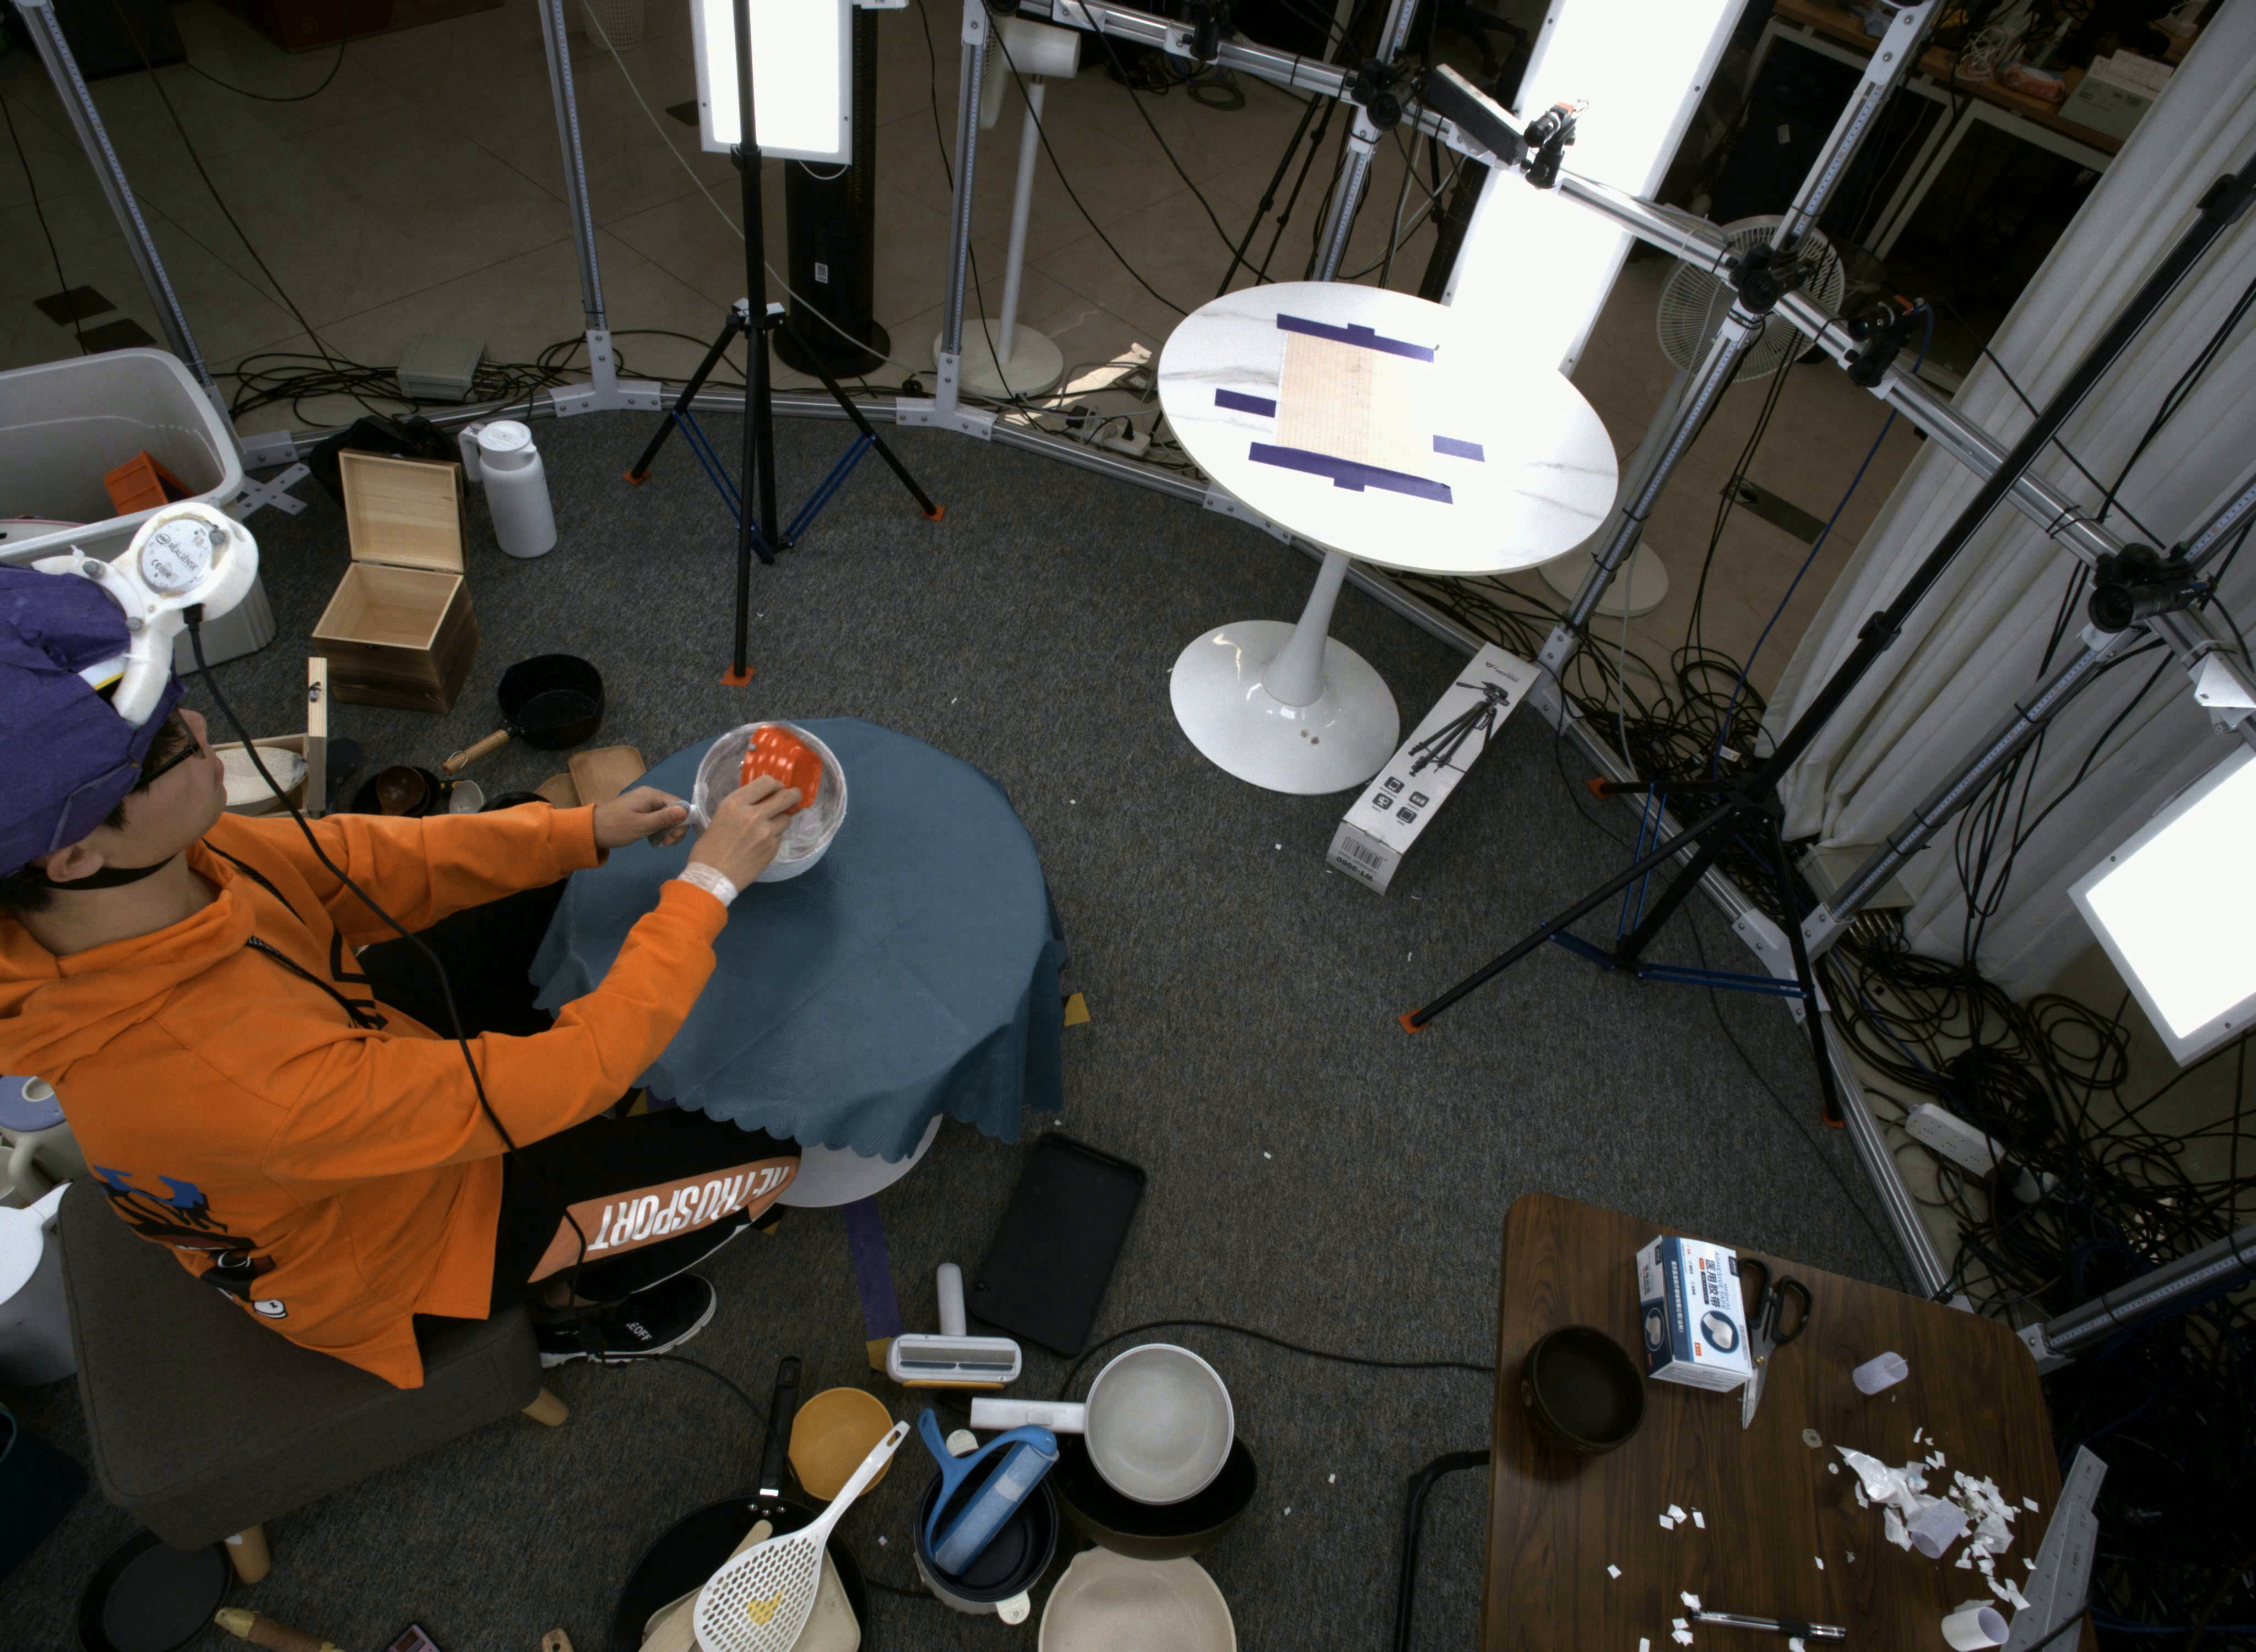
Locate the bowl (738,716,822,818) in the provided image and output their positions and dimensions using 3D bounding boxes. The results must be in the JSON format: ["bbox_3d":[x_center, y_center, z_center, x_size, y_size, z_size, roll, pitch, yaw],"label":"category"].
[{"bbox_3d":[-0.388,-0.065,1.467,0.050,0.123,0.117,8,49,15],"label":"bowl"}]

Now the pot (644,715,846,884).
[{"bbox_3d":[-0.464,-0.022,1.557,0.235,0.135,0.179,-14,82,-25],"label":"pot"}]
